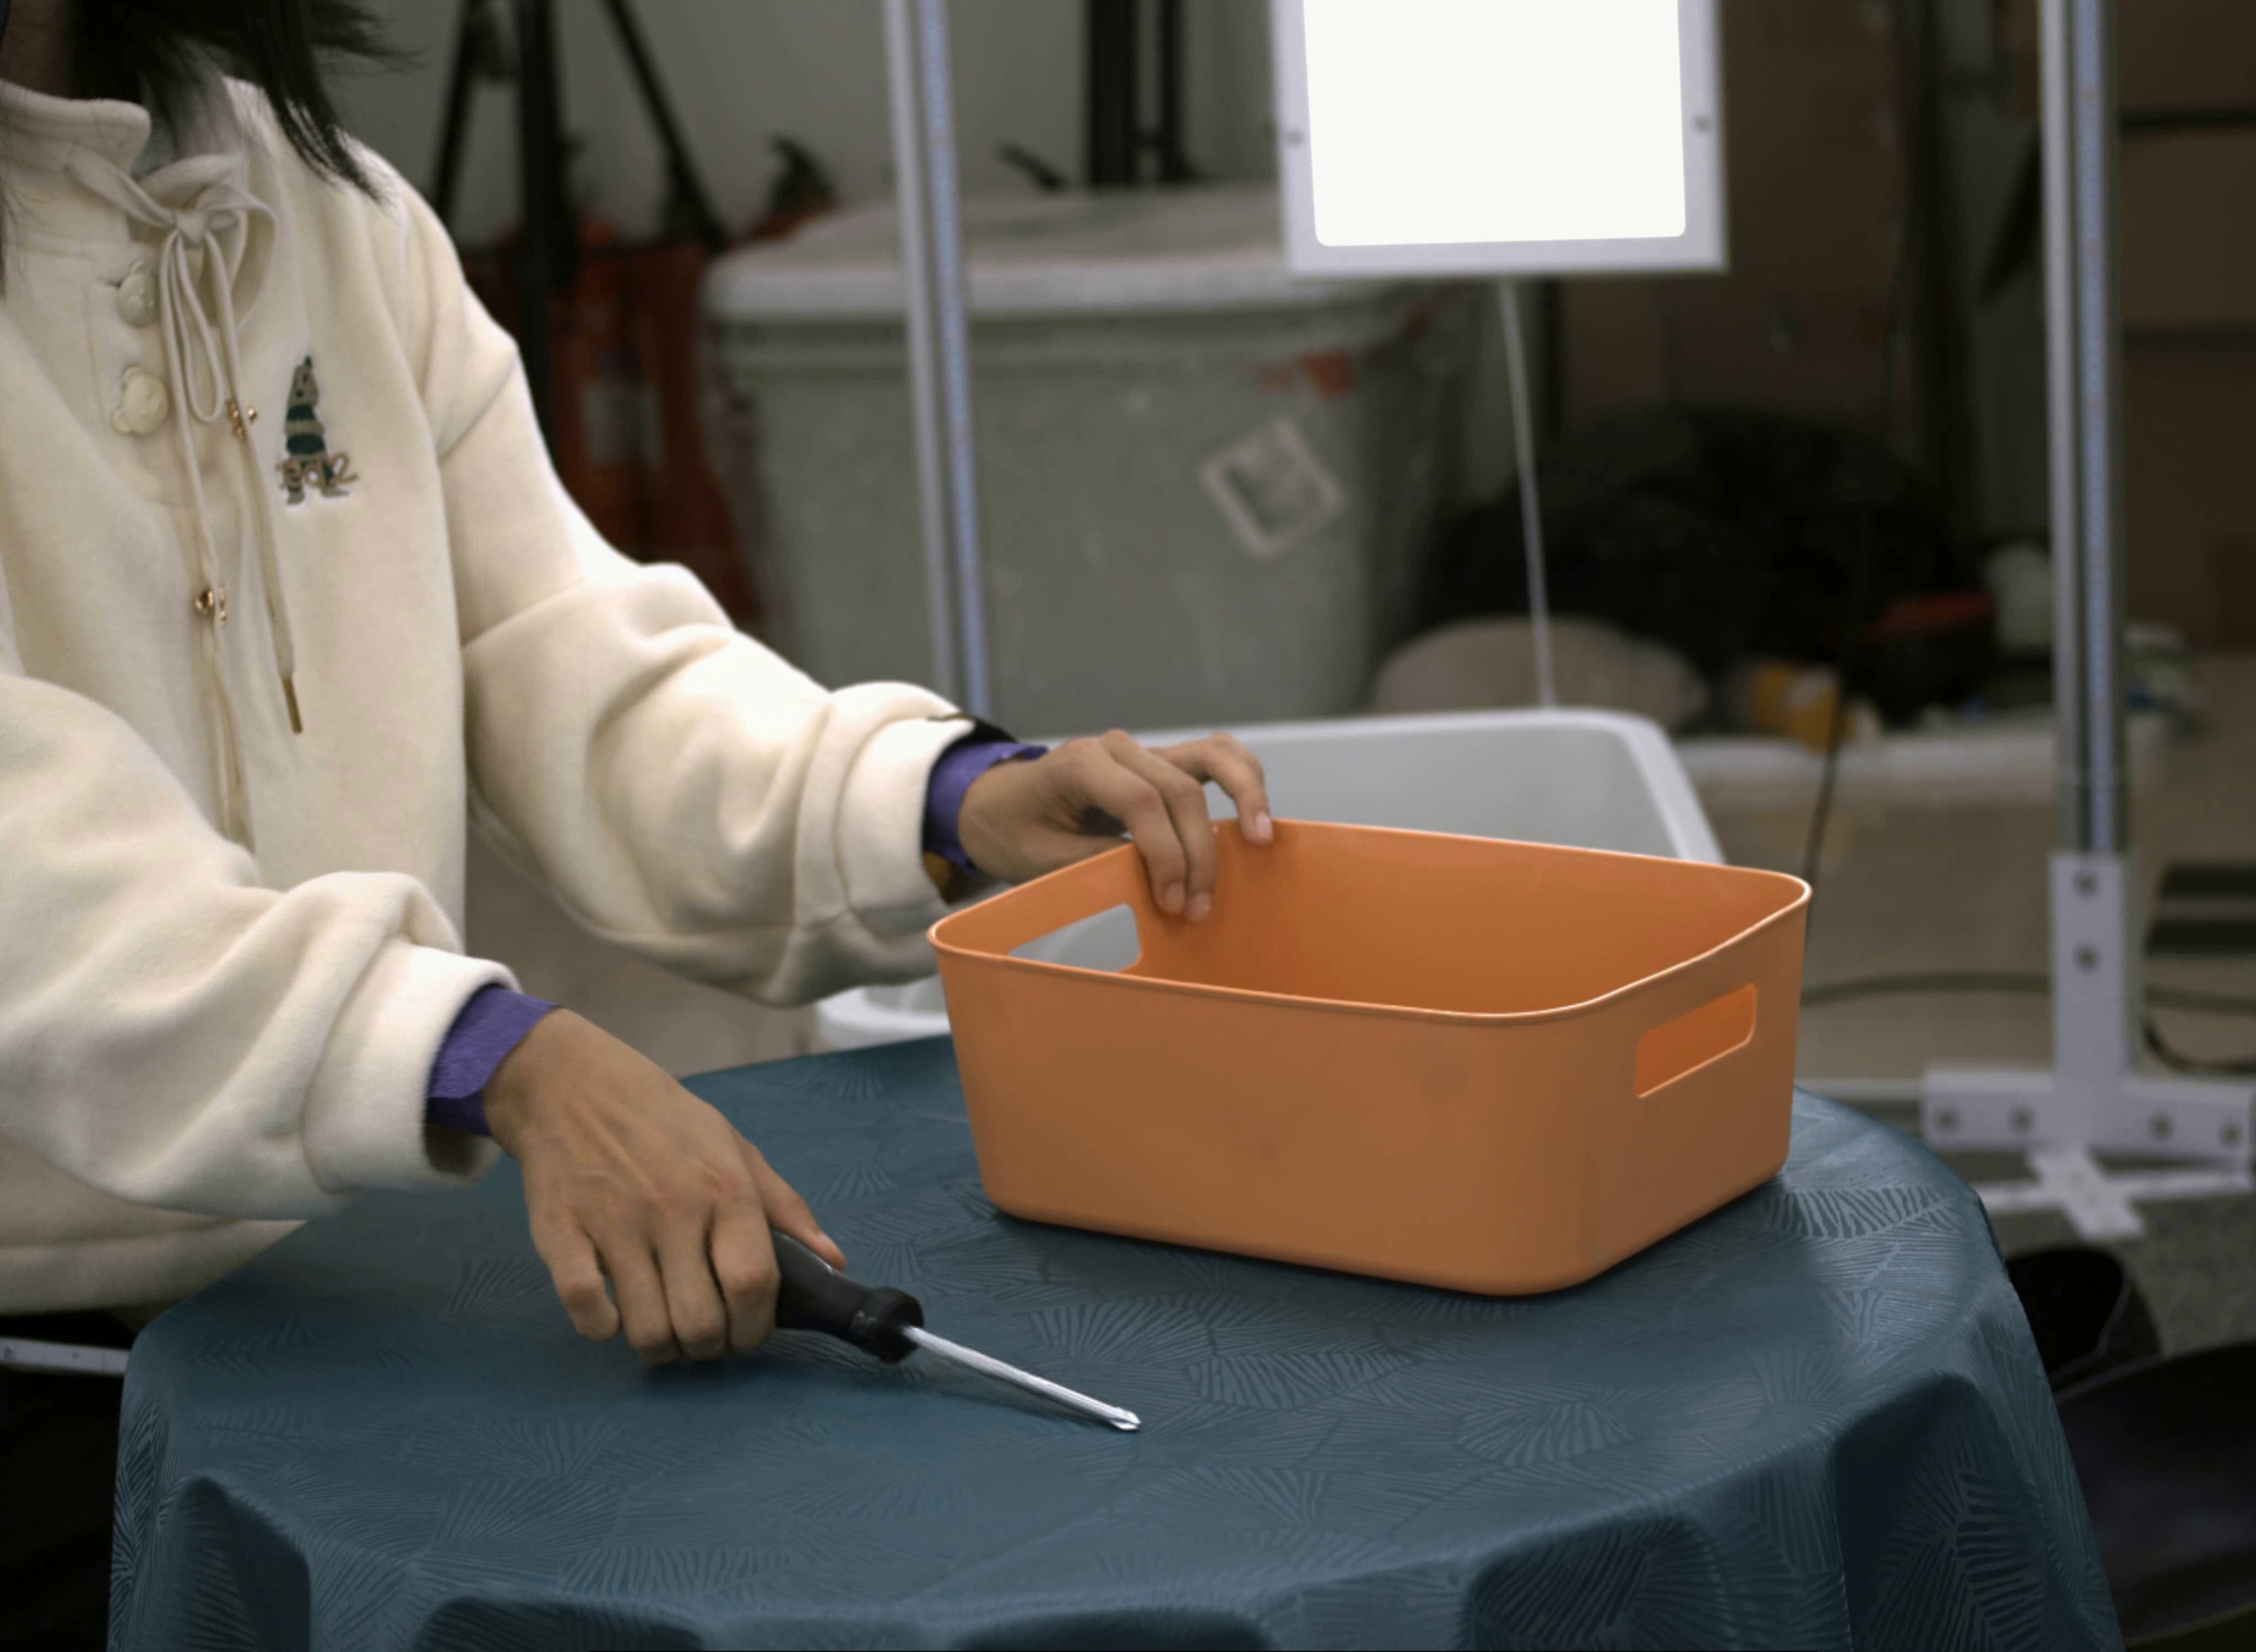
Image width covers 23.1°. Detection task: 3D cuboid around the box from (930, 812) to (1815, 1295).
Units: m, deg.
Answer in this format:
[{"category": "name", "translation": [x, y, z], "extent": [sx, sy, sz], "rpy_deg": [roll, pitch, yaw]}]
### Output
[{"category": "box", "translation": [0.085, 0.074, 1.861], "extent": [0.279, 0.103, 0.194], "rpy_deg": [6, 18, 38]}]

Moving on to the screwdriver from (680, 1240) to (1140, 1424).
[{"category": "screwdriver", "translation": [-0.070, 0.165, 1.728], "extent": [0.030, 0.031, 0.200], "rpy_deg": [-17, 24, -42]}]
